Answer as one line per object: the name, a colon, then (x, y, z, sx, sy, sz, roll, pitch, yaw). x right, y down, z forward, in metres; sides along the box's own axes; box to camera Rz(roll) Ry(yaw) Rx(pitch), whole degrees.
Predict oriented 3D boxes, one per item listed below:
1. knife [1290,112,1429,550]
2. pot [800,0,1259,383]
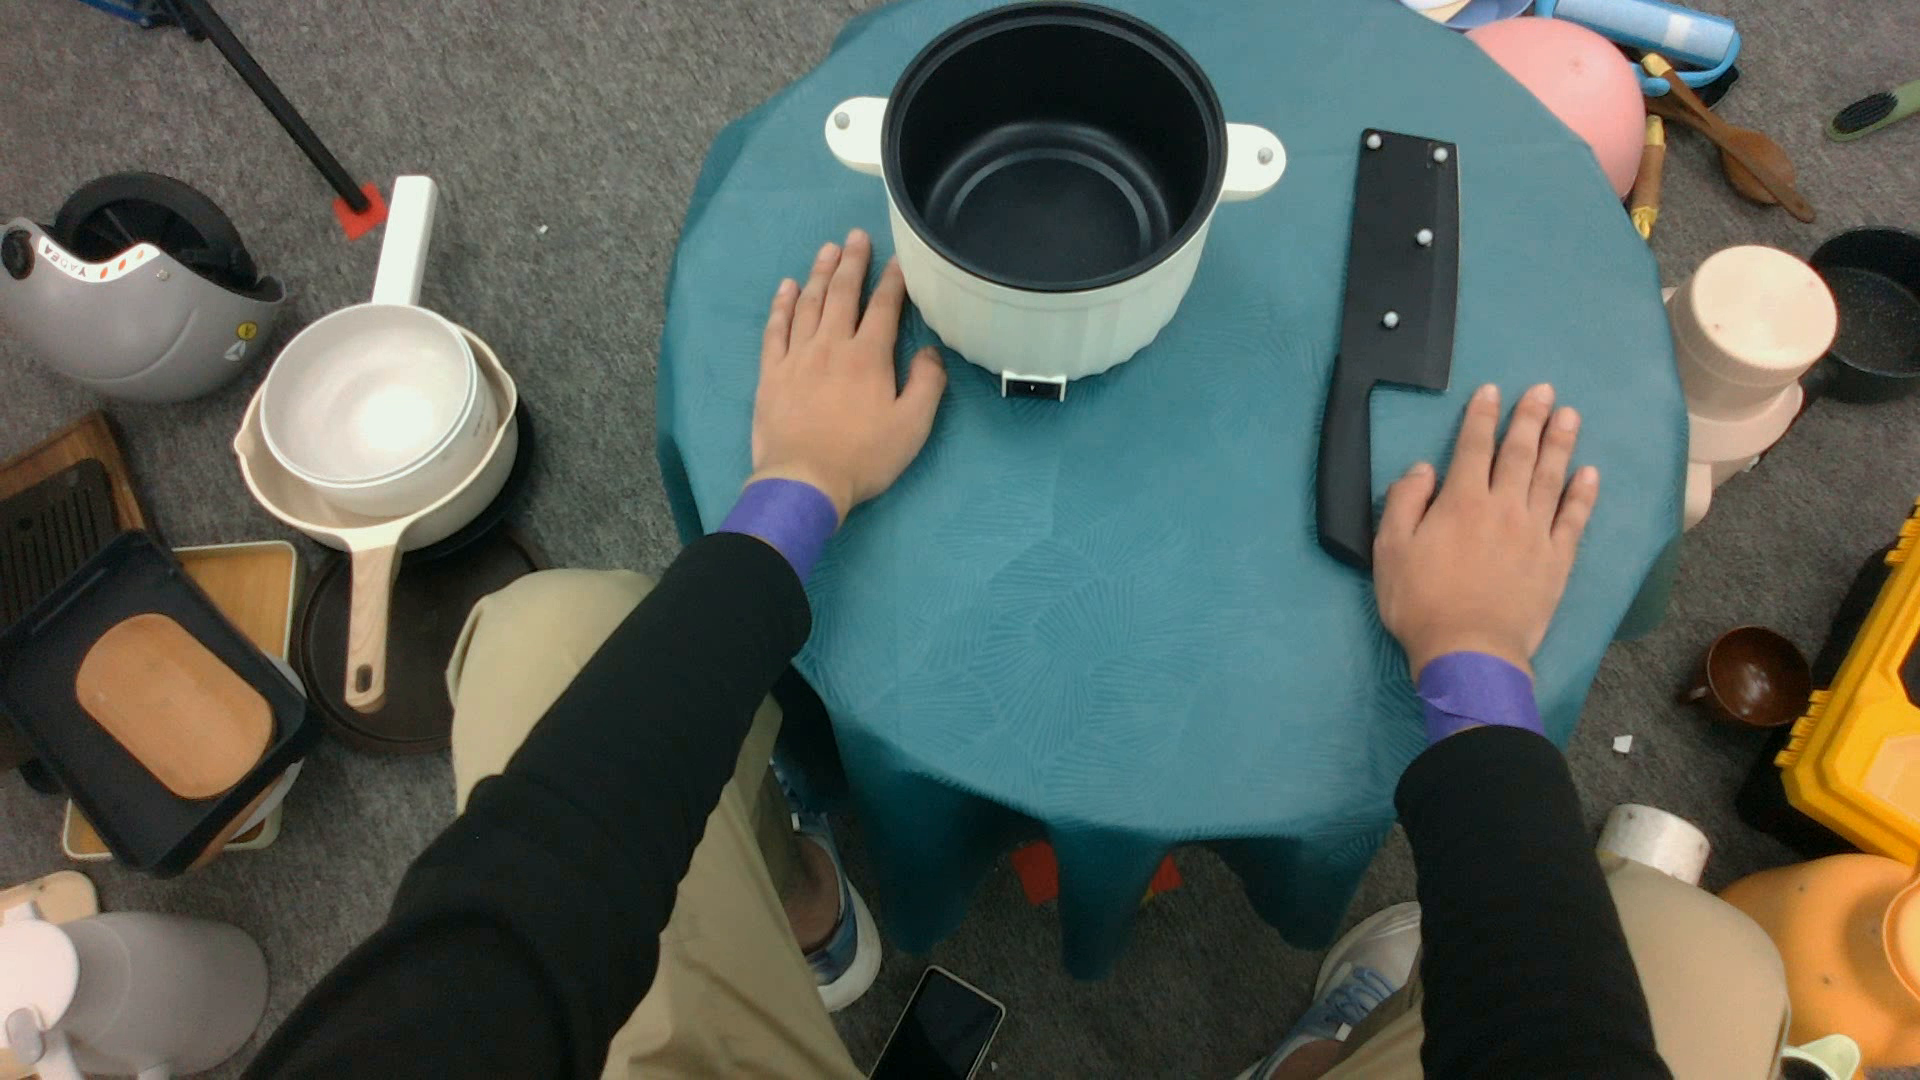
knife: (0.240, -0.133, 0.822, 0.081, 0.021, 0.303, 15, 68, 4)
pot: (0.036, -0.201, 0.781, 0.240, 0.142, 0.191, 4, 73, 0)
